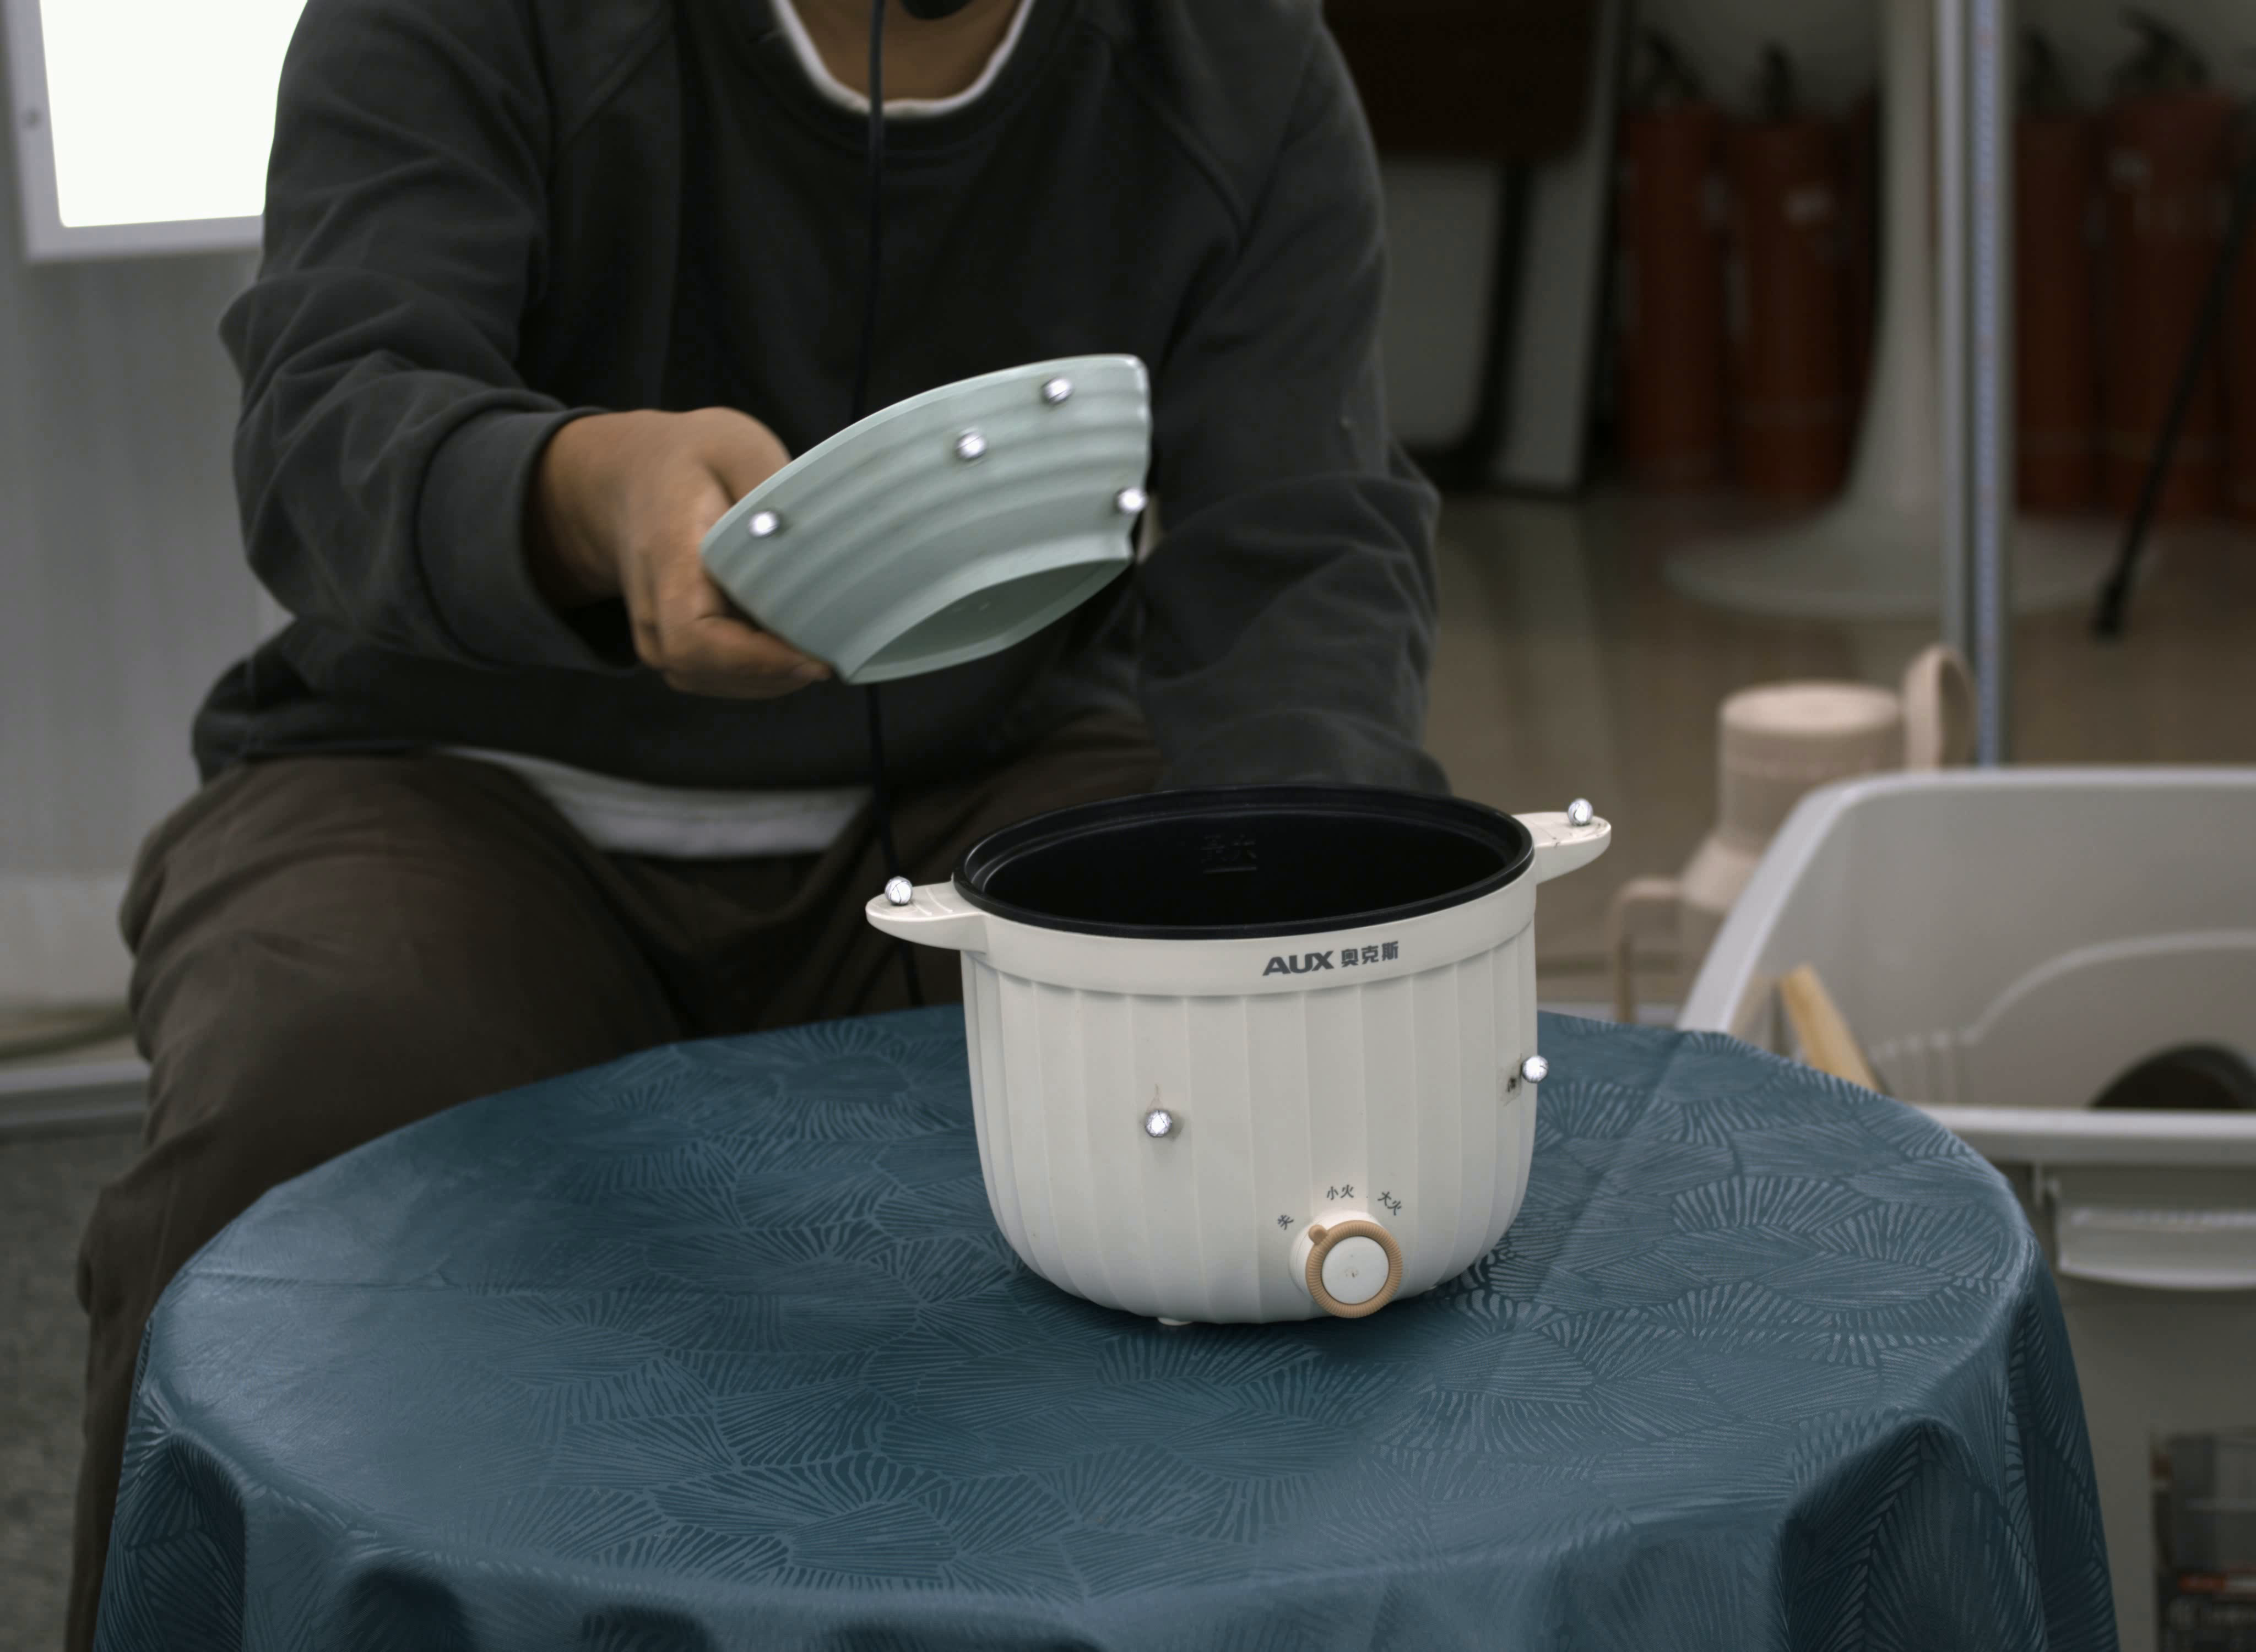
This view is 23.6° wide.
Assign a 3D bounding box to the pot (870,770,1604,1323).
[{"bbox_3d":[0.043,0.070,1.672,0.236,0.144,0.192,-9,11,-14],"label":"pot"}]

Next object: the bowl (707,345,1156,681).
[{"bbox_3d":[-0.052,-0.091,1.679,0.150,0.059,0.151,-22,-9,-5],"label":"bowl"}]
